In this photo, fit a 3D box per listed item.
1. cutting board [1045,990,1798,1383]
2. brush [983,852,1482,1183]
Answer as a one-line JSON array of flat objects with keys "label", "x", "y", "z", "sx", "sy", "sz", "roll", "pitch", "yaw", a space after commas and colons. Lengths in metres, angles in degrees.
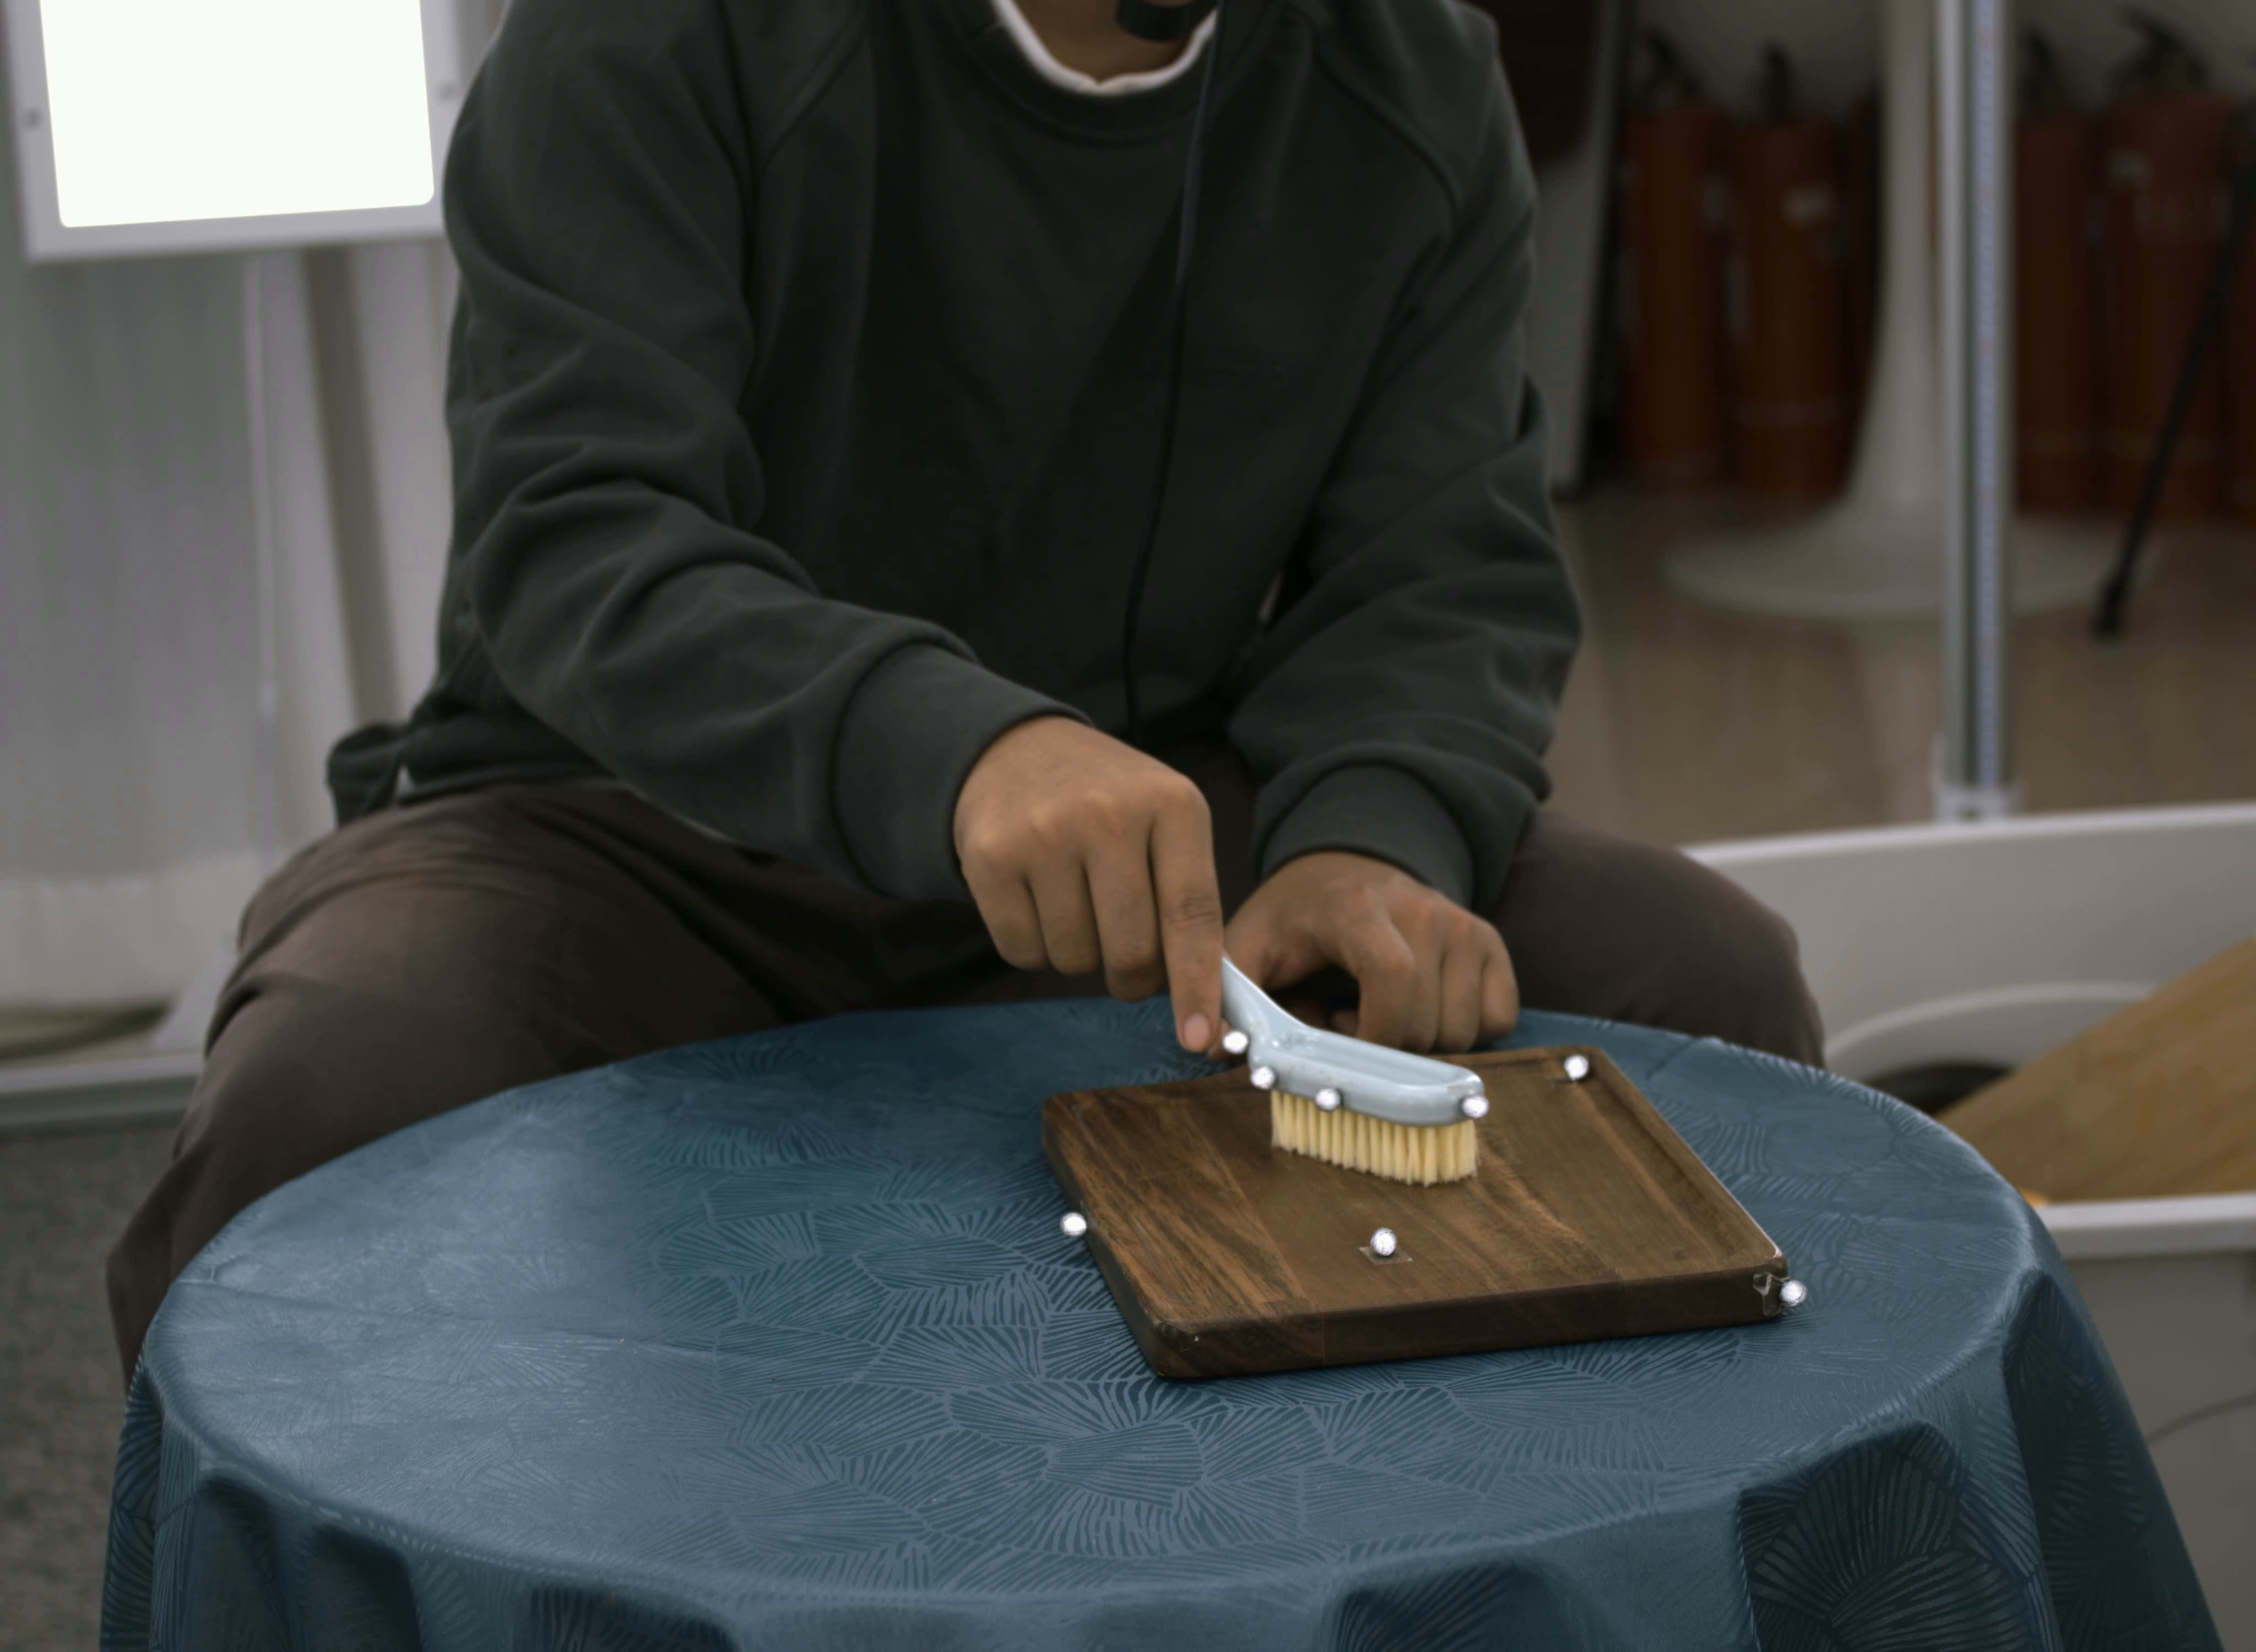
[{"label": "cutting board", "x": 0.080, "y": 0.108, "z": 1.762, "sx": 0.198, "sy": 0.023, "sz": 0.354, "roll": -5, "pitch": 14, "yaw": -7}, {"label": "brush", "x": 0.030, "y": 0.063, "z": 1.787, "sx": 0.037, "sy": 0.050, "sz": 0.231, "roll": -16, "pitch": 32, "yaw": -39}]
